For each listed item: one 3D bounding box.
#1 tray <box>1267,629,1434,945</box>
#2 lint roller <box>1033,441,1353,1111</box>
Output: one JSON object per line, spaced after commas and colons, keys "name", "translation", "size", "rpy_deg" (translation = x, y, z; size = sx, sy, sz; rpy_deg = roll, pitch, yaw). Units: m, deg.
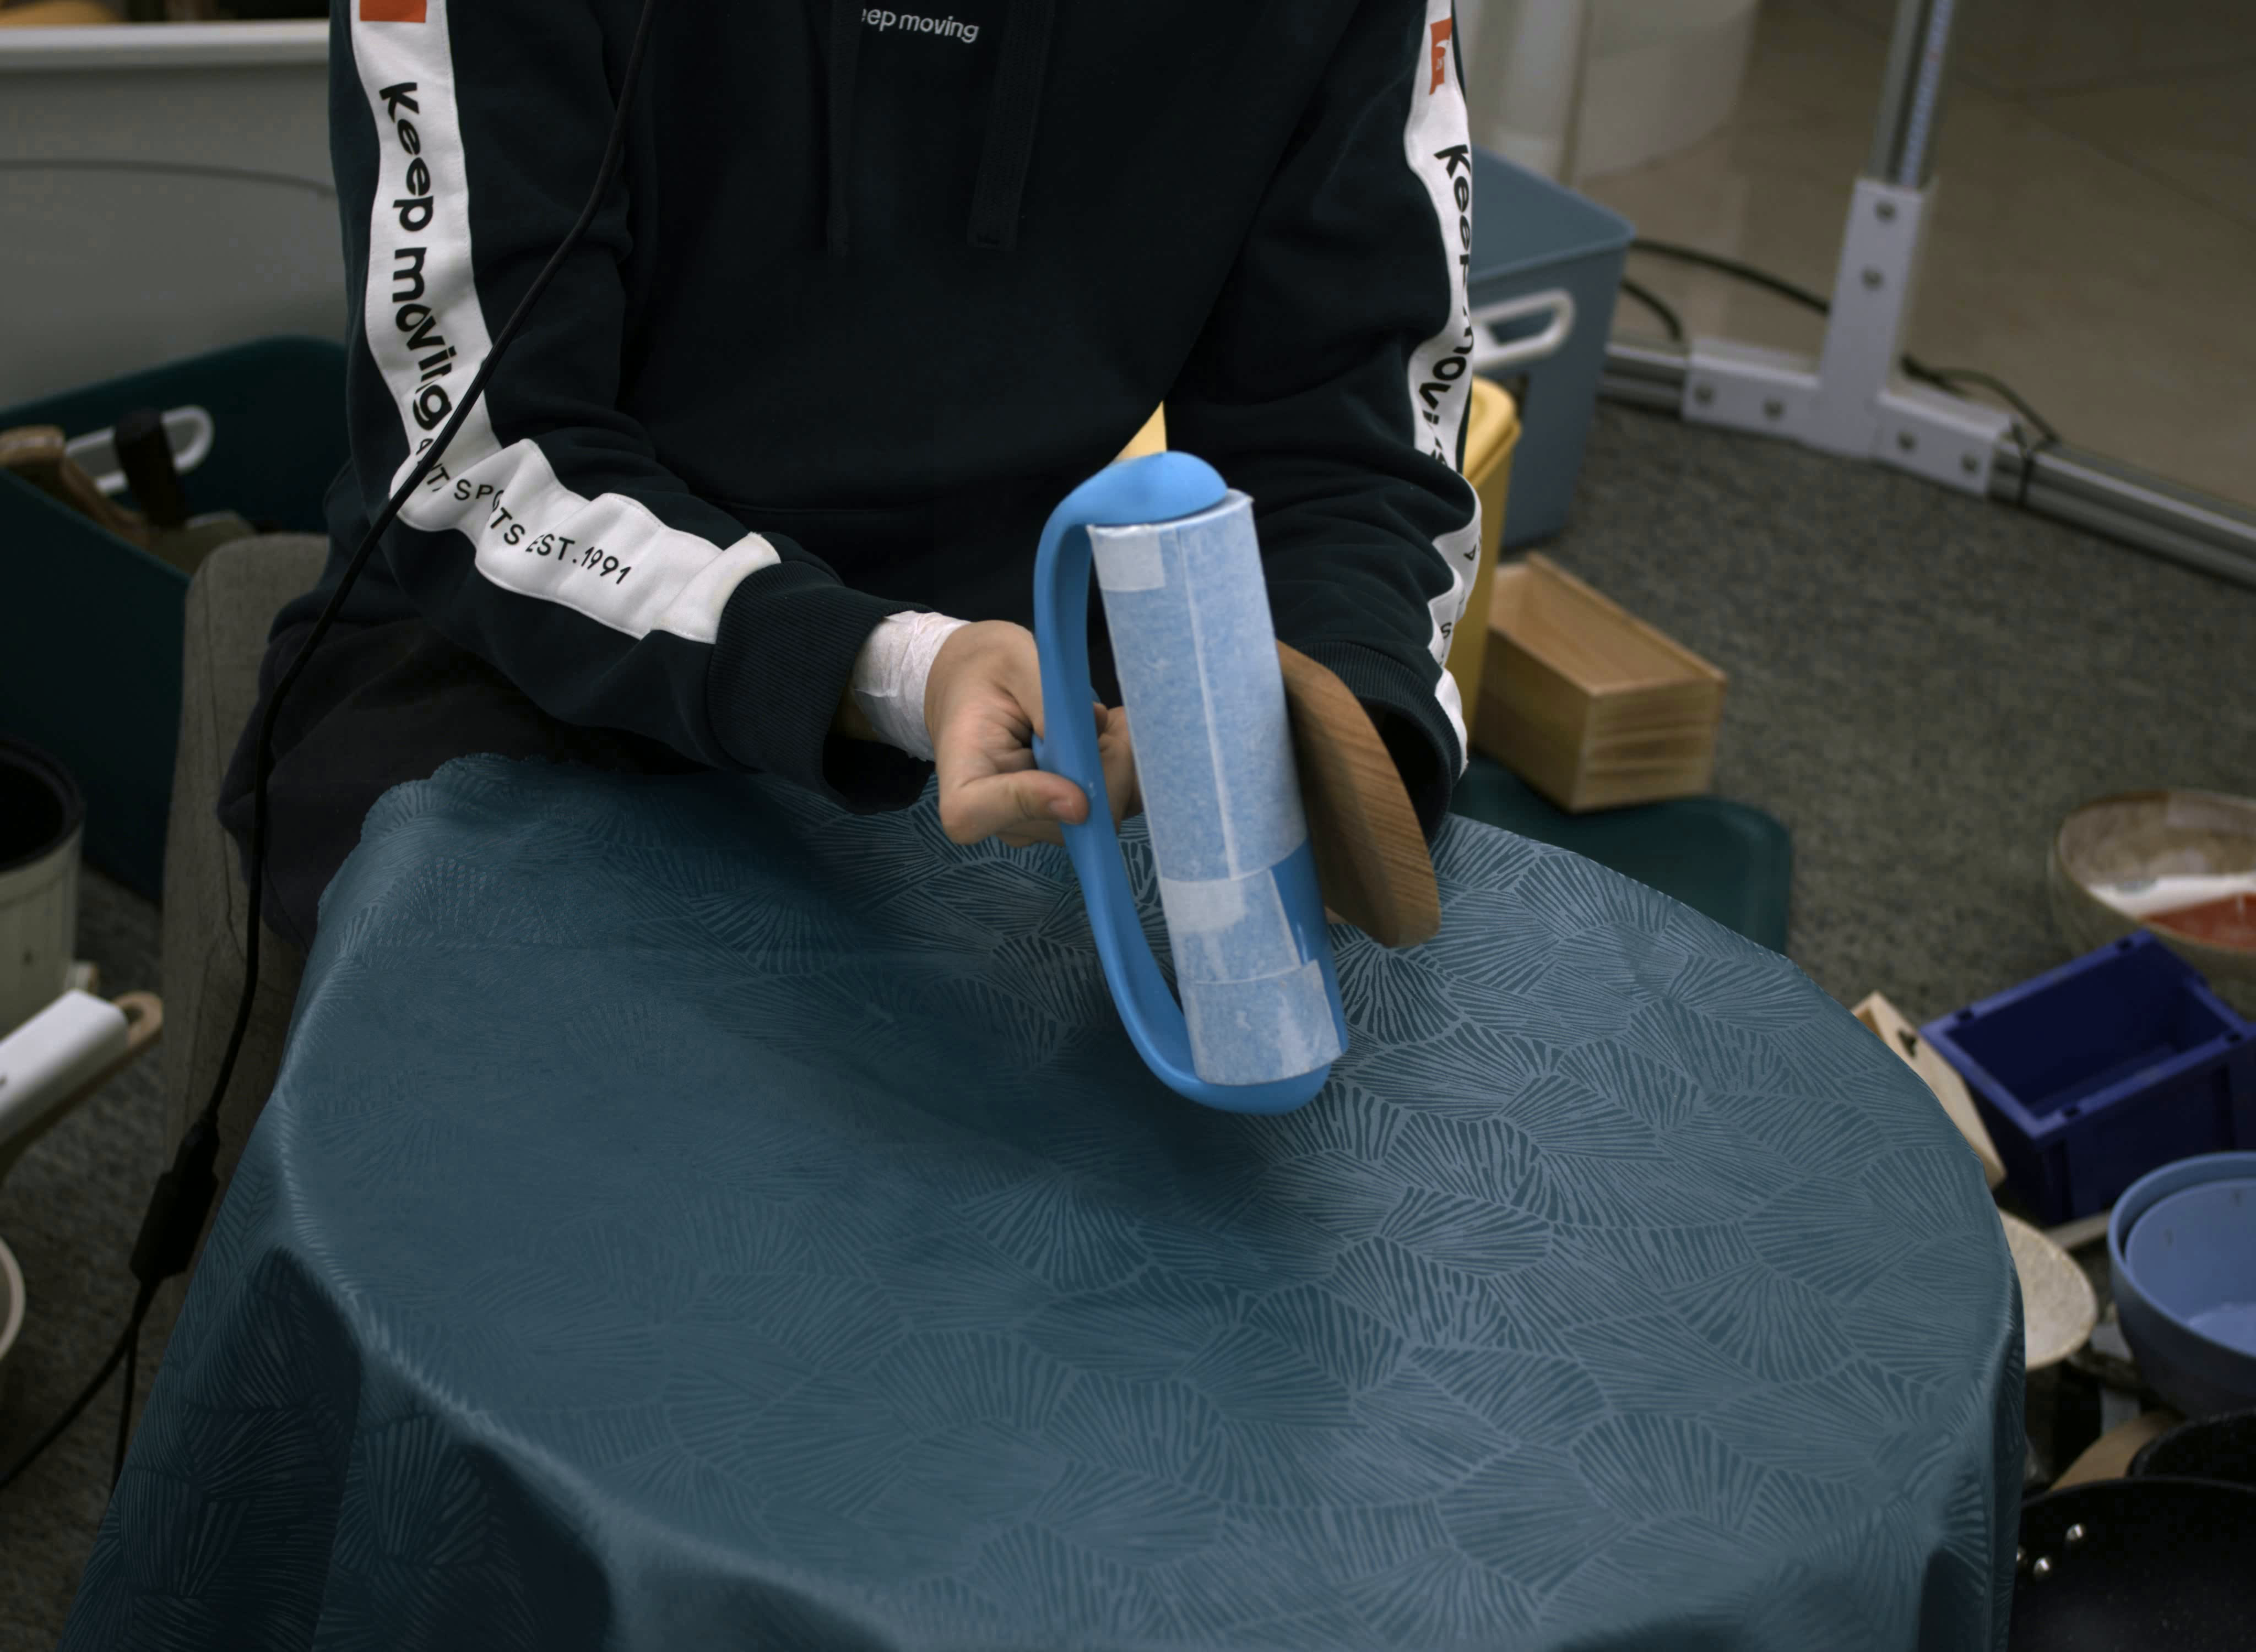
{"name": "tray", "translation": [0.051, -0.022, 1.825], "size": [0.020, 0.101, 0.232], "rpy_deg": [-22, 19, -14]}
{"name": "lint roller", "translation": [0.003, -0.020, 1.809], "size": [0.067, 0.228, 0.181], "rpy_deg": [-19, 13, -23]}
